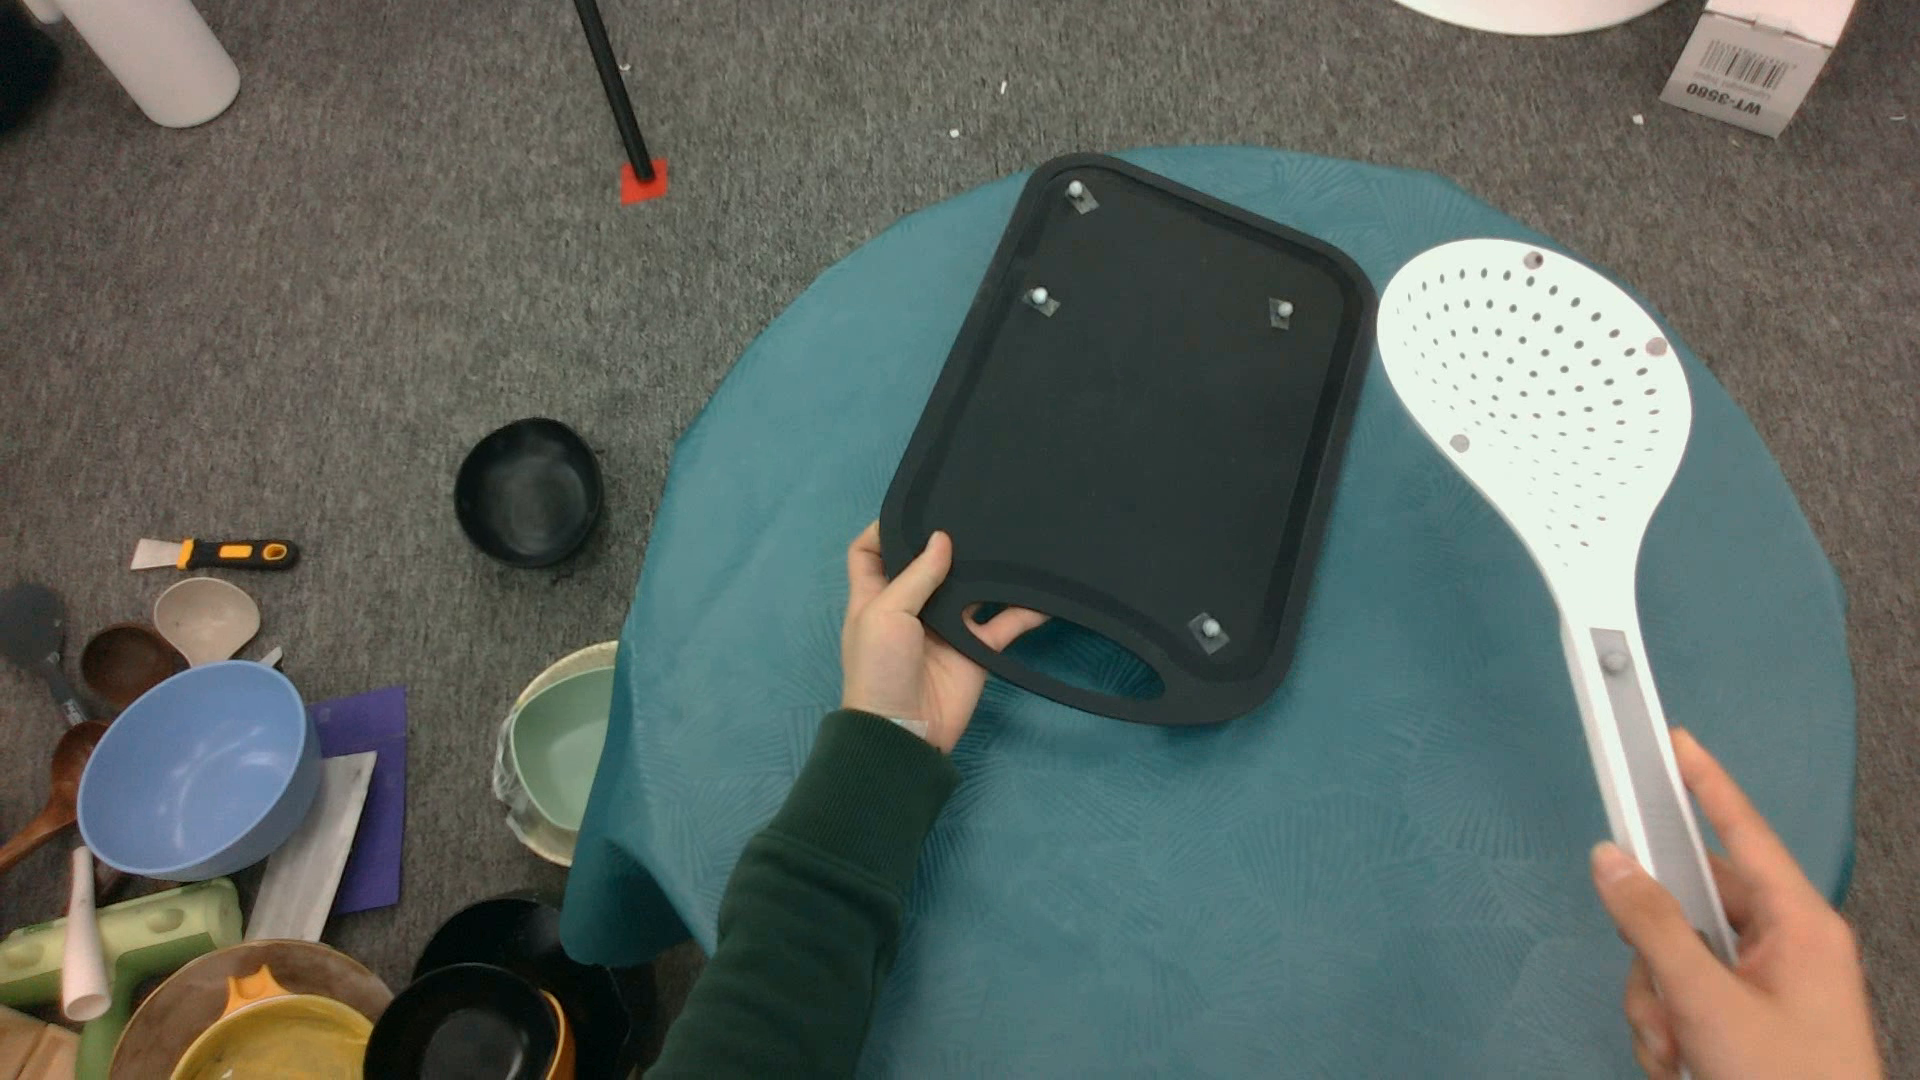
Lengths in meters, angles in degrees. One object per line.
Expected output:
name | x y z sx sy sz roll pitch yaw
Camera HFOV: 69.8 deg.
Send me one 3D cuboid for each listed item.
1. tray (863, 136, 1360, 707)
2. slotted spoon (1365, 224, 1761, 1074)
tray | 0.086 -0.070 0.697 0.211 0.010 0.327 22 60 -1
slotted spoon | 0.234 0.016 0.521 0.136 0.045 0.351 4 54 -8
